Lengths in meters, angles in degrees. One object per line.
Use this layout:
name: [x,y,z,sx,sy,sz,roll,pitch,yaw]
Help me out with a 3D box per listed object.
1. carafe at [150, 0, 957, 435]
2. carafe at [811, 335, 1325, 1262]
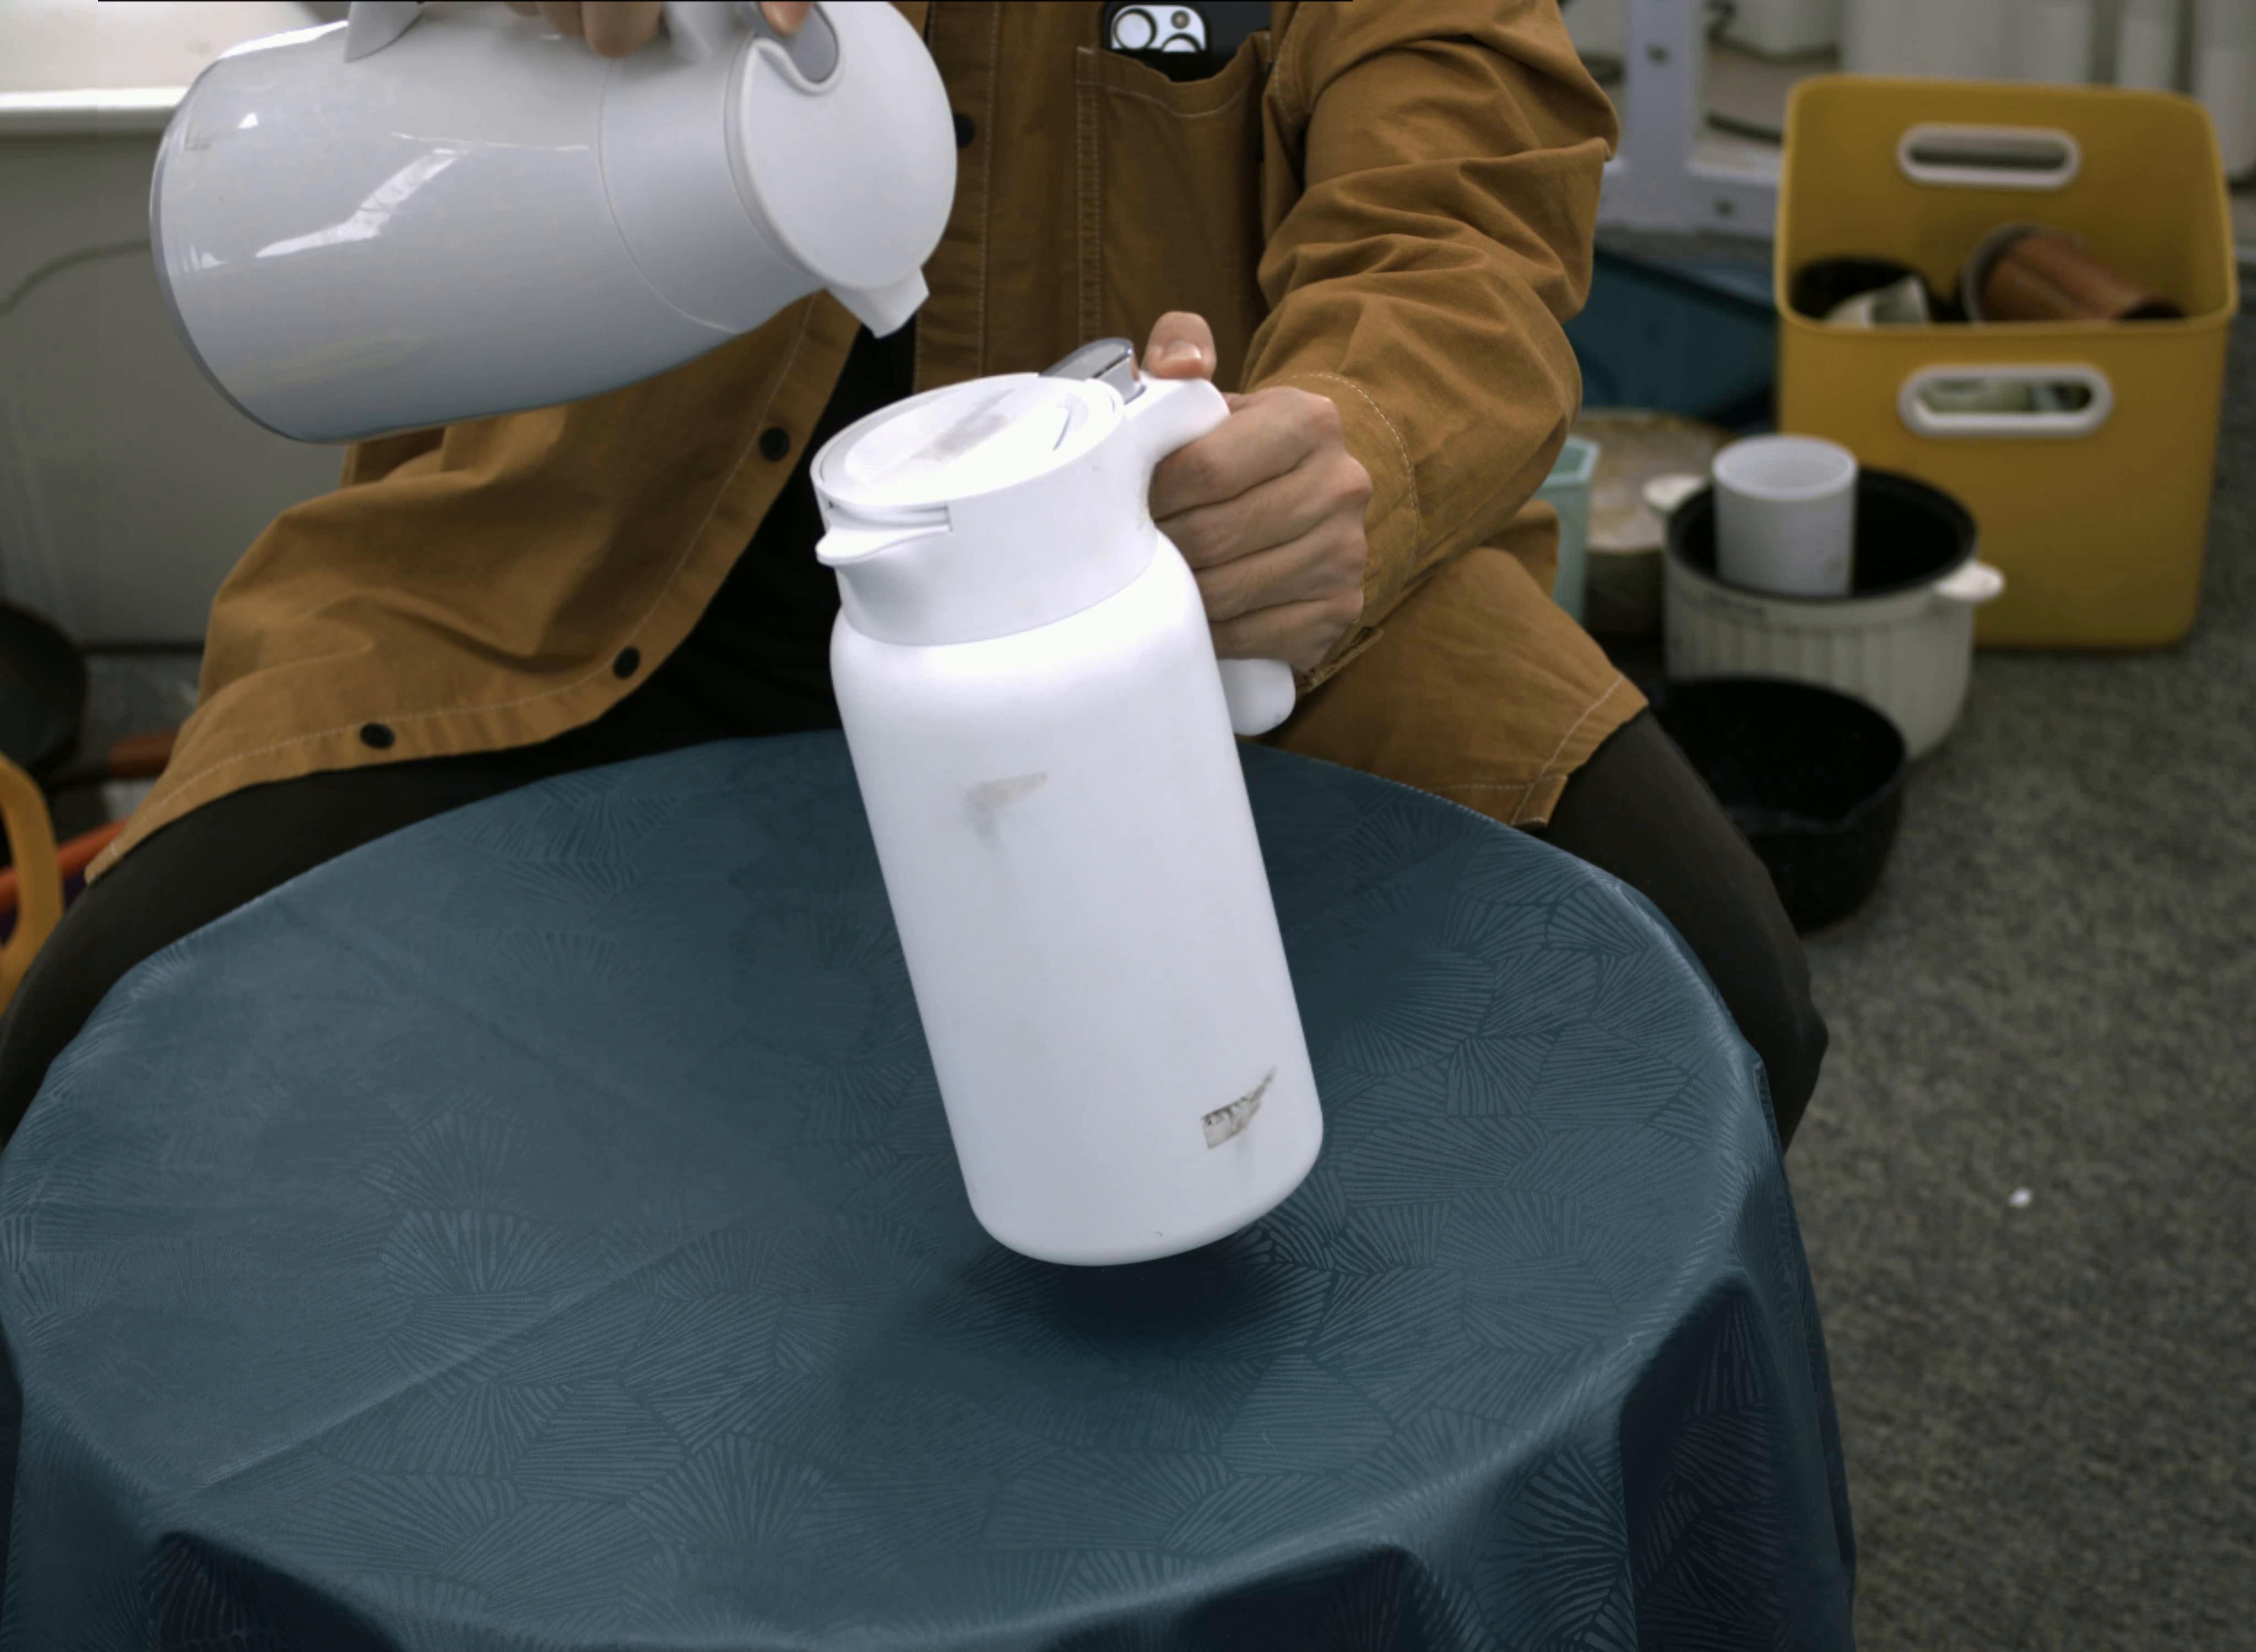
carafe: [-0.178,-0.213,1.719,0.246,0.166,0.135,-6,35,40]
carafe: [-0.011,-0.012,1.766,0.123,0.267,0.175,4,28,41]
